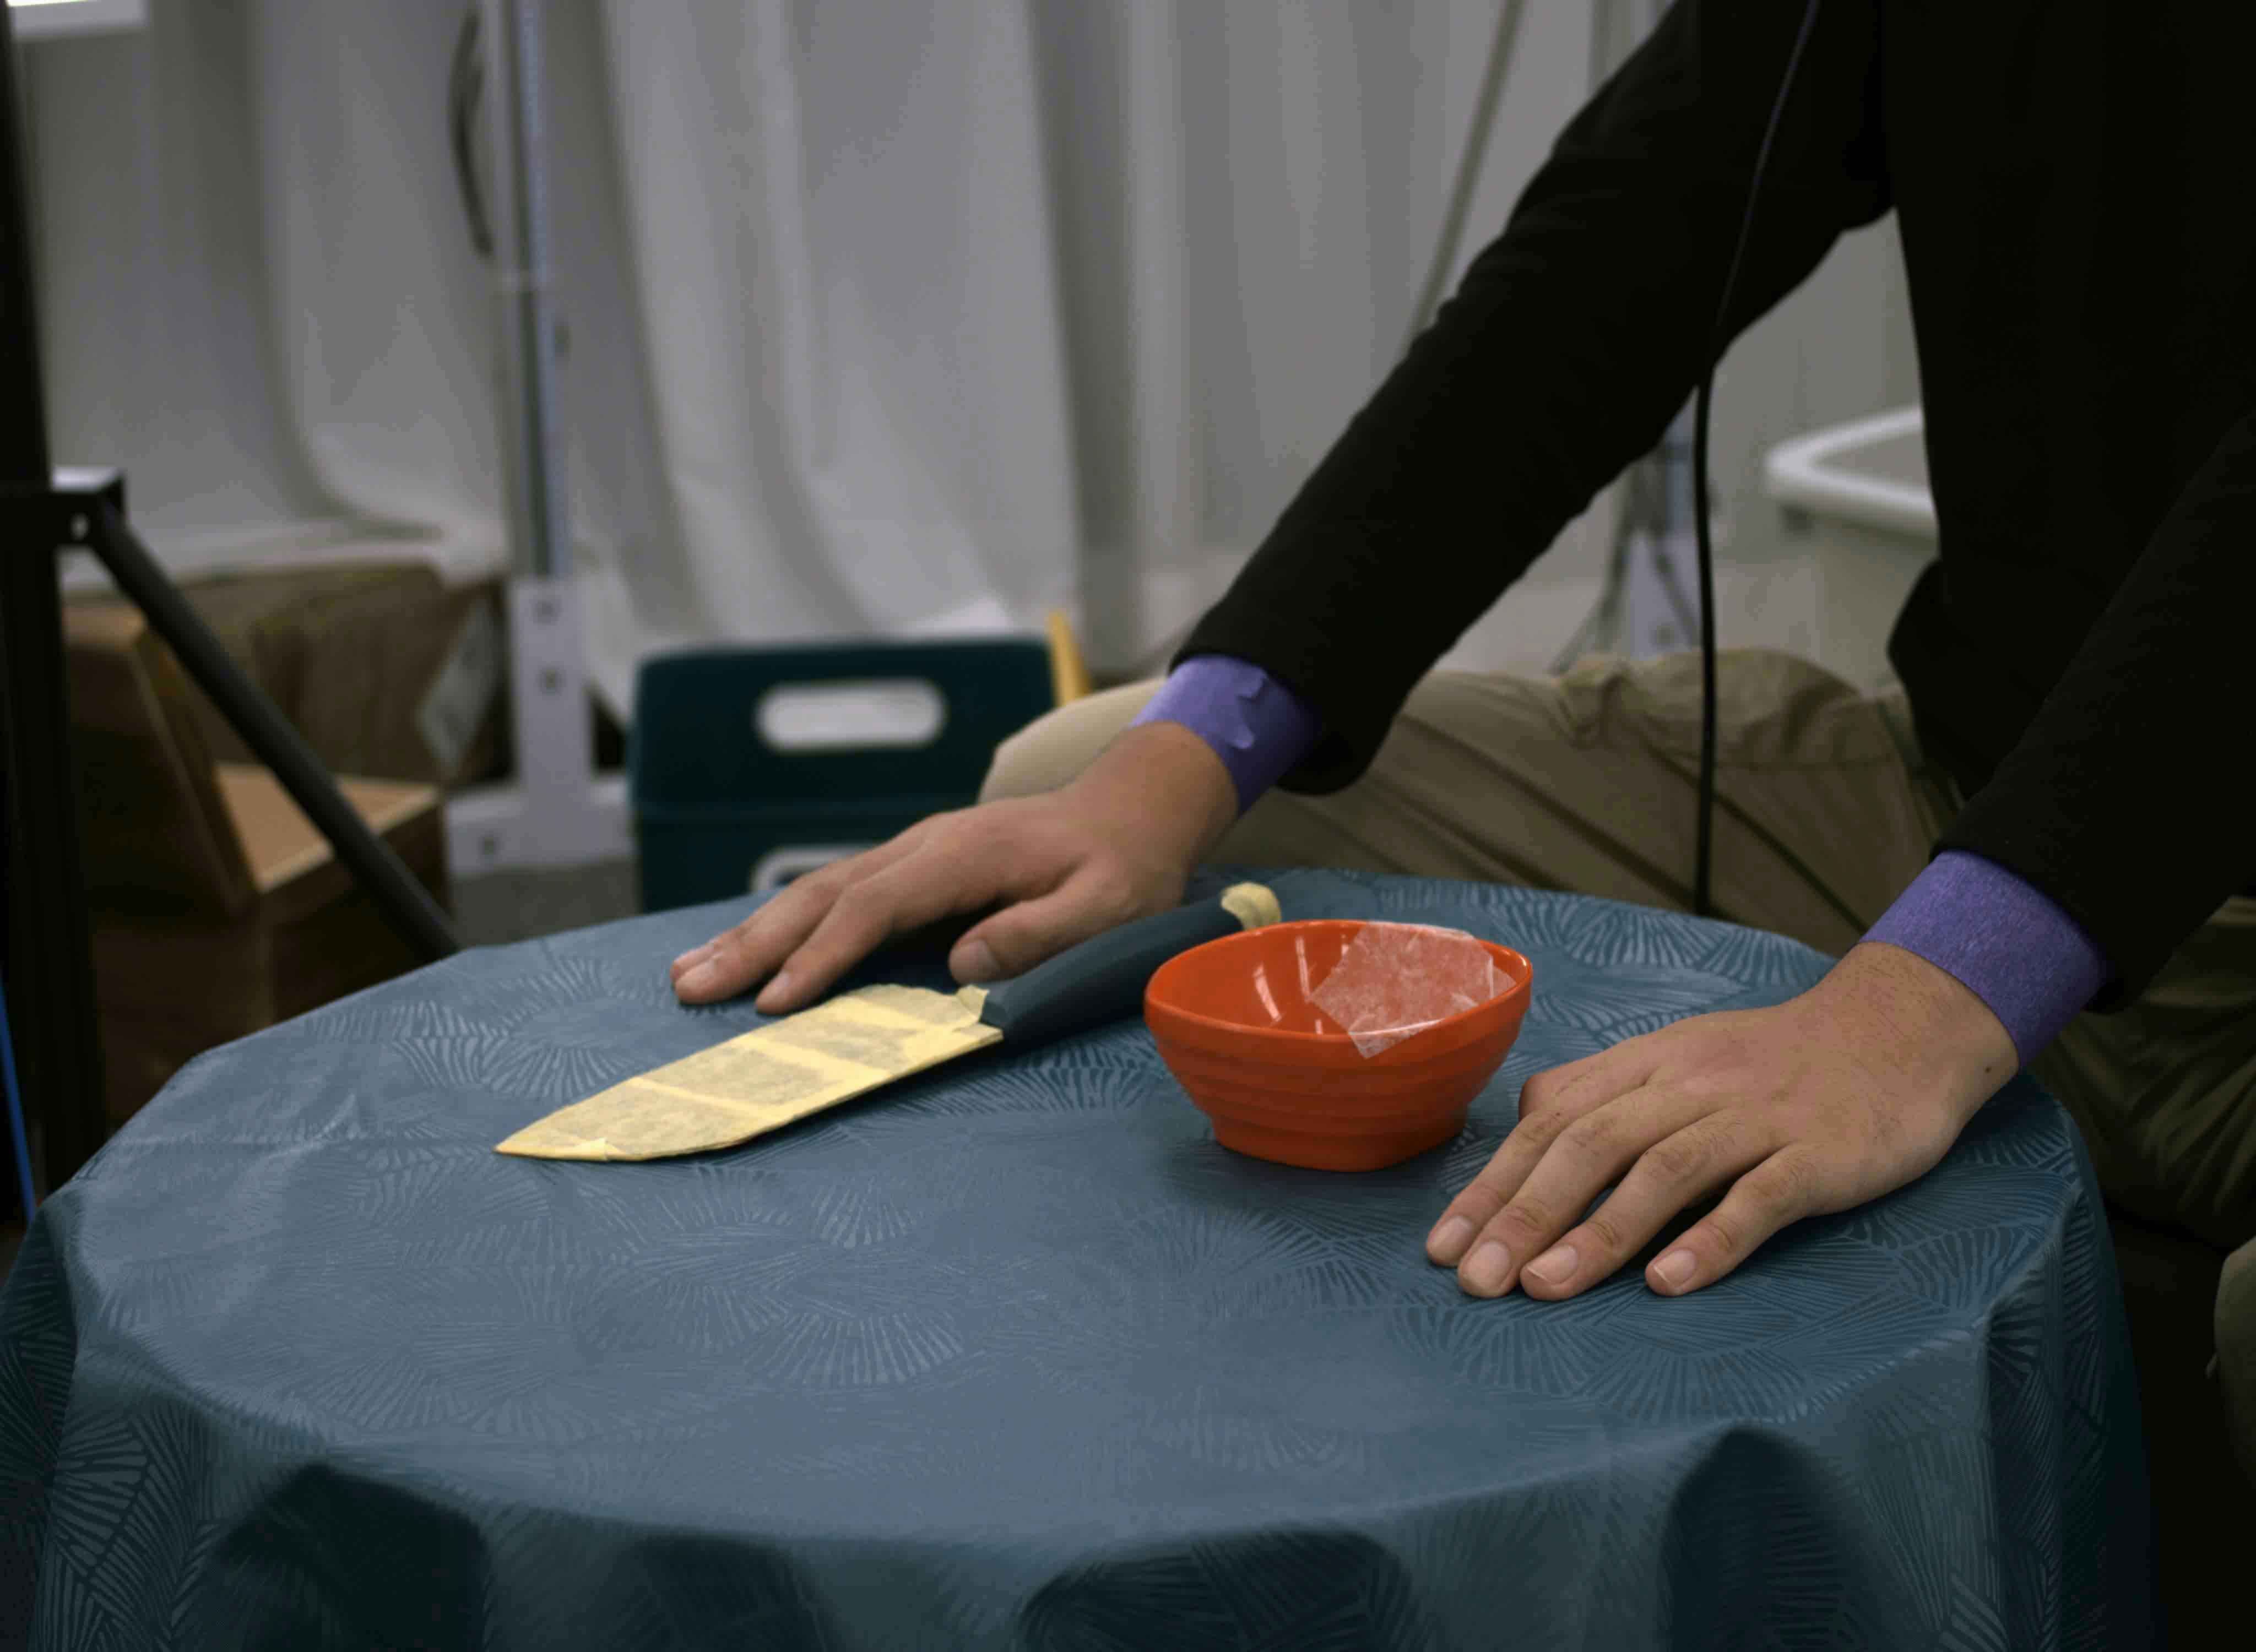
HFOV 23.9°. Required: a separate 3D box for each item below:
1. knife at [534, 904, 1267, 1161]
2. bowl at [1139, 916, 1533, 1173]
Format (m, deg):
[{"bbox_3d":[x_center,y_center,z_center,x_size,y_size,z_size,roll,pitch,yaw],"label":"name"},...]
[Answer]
[{"bbox_3d":[-0.070,0.065,1.692,0.283,0.027,0.083,-17,22,-37],"label":"knife"},{"bbox_3d":[0.064,0.068,1.590,0.118,0.051,0.119,-5,15,0],"label":"bowl"}]
